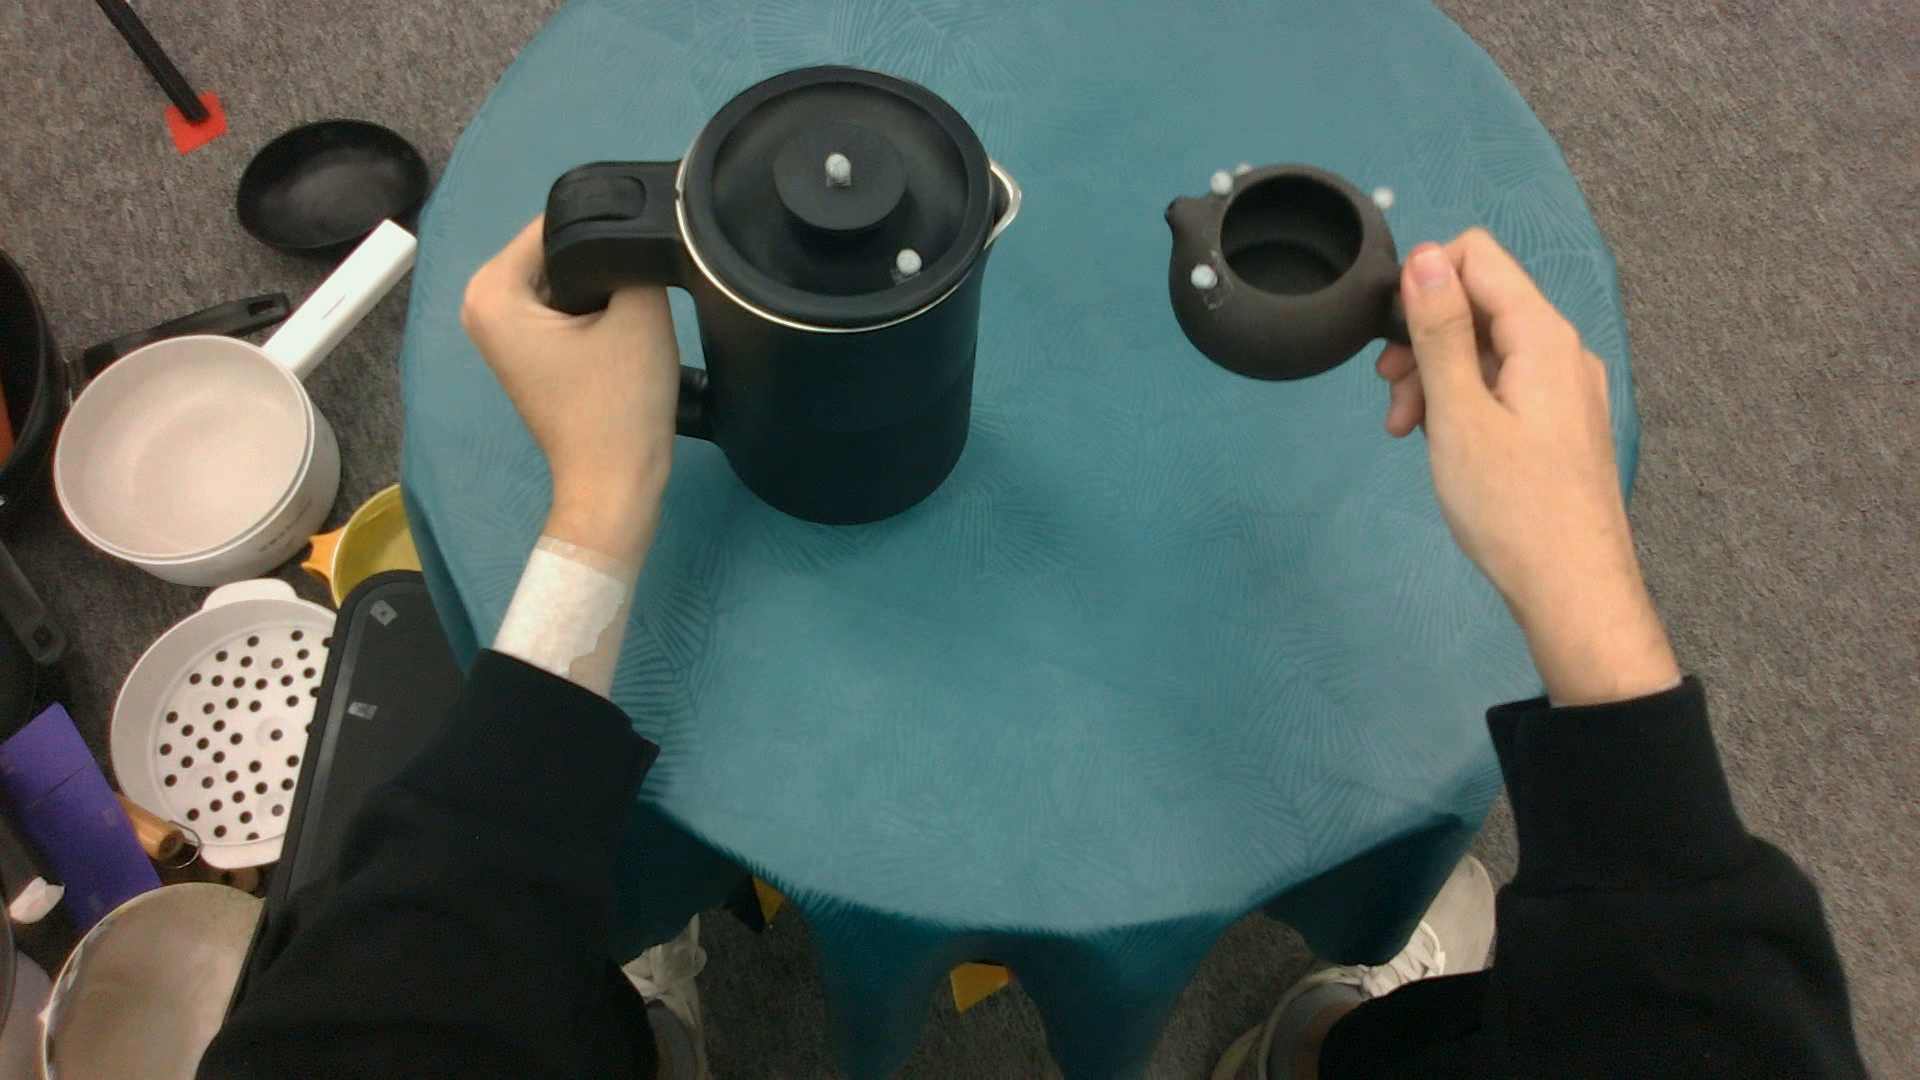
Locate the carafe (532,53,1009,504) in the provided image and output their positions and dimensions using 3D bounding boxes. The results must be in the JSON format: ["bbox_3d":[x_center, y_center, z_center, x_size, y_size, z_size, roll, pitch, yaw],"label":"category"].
[{"bbox_3d":[-0.075,-0.096,0.538,0.172,0.172,0.115,-3,70,-8],"label":"carafe"}]

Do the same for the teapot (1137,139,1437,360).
[{"bbox_3d":[0.119,-0.103,0.504,0.114,0.053,0.083,25,76,18],"label":"teapot"}]
